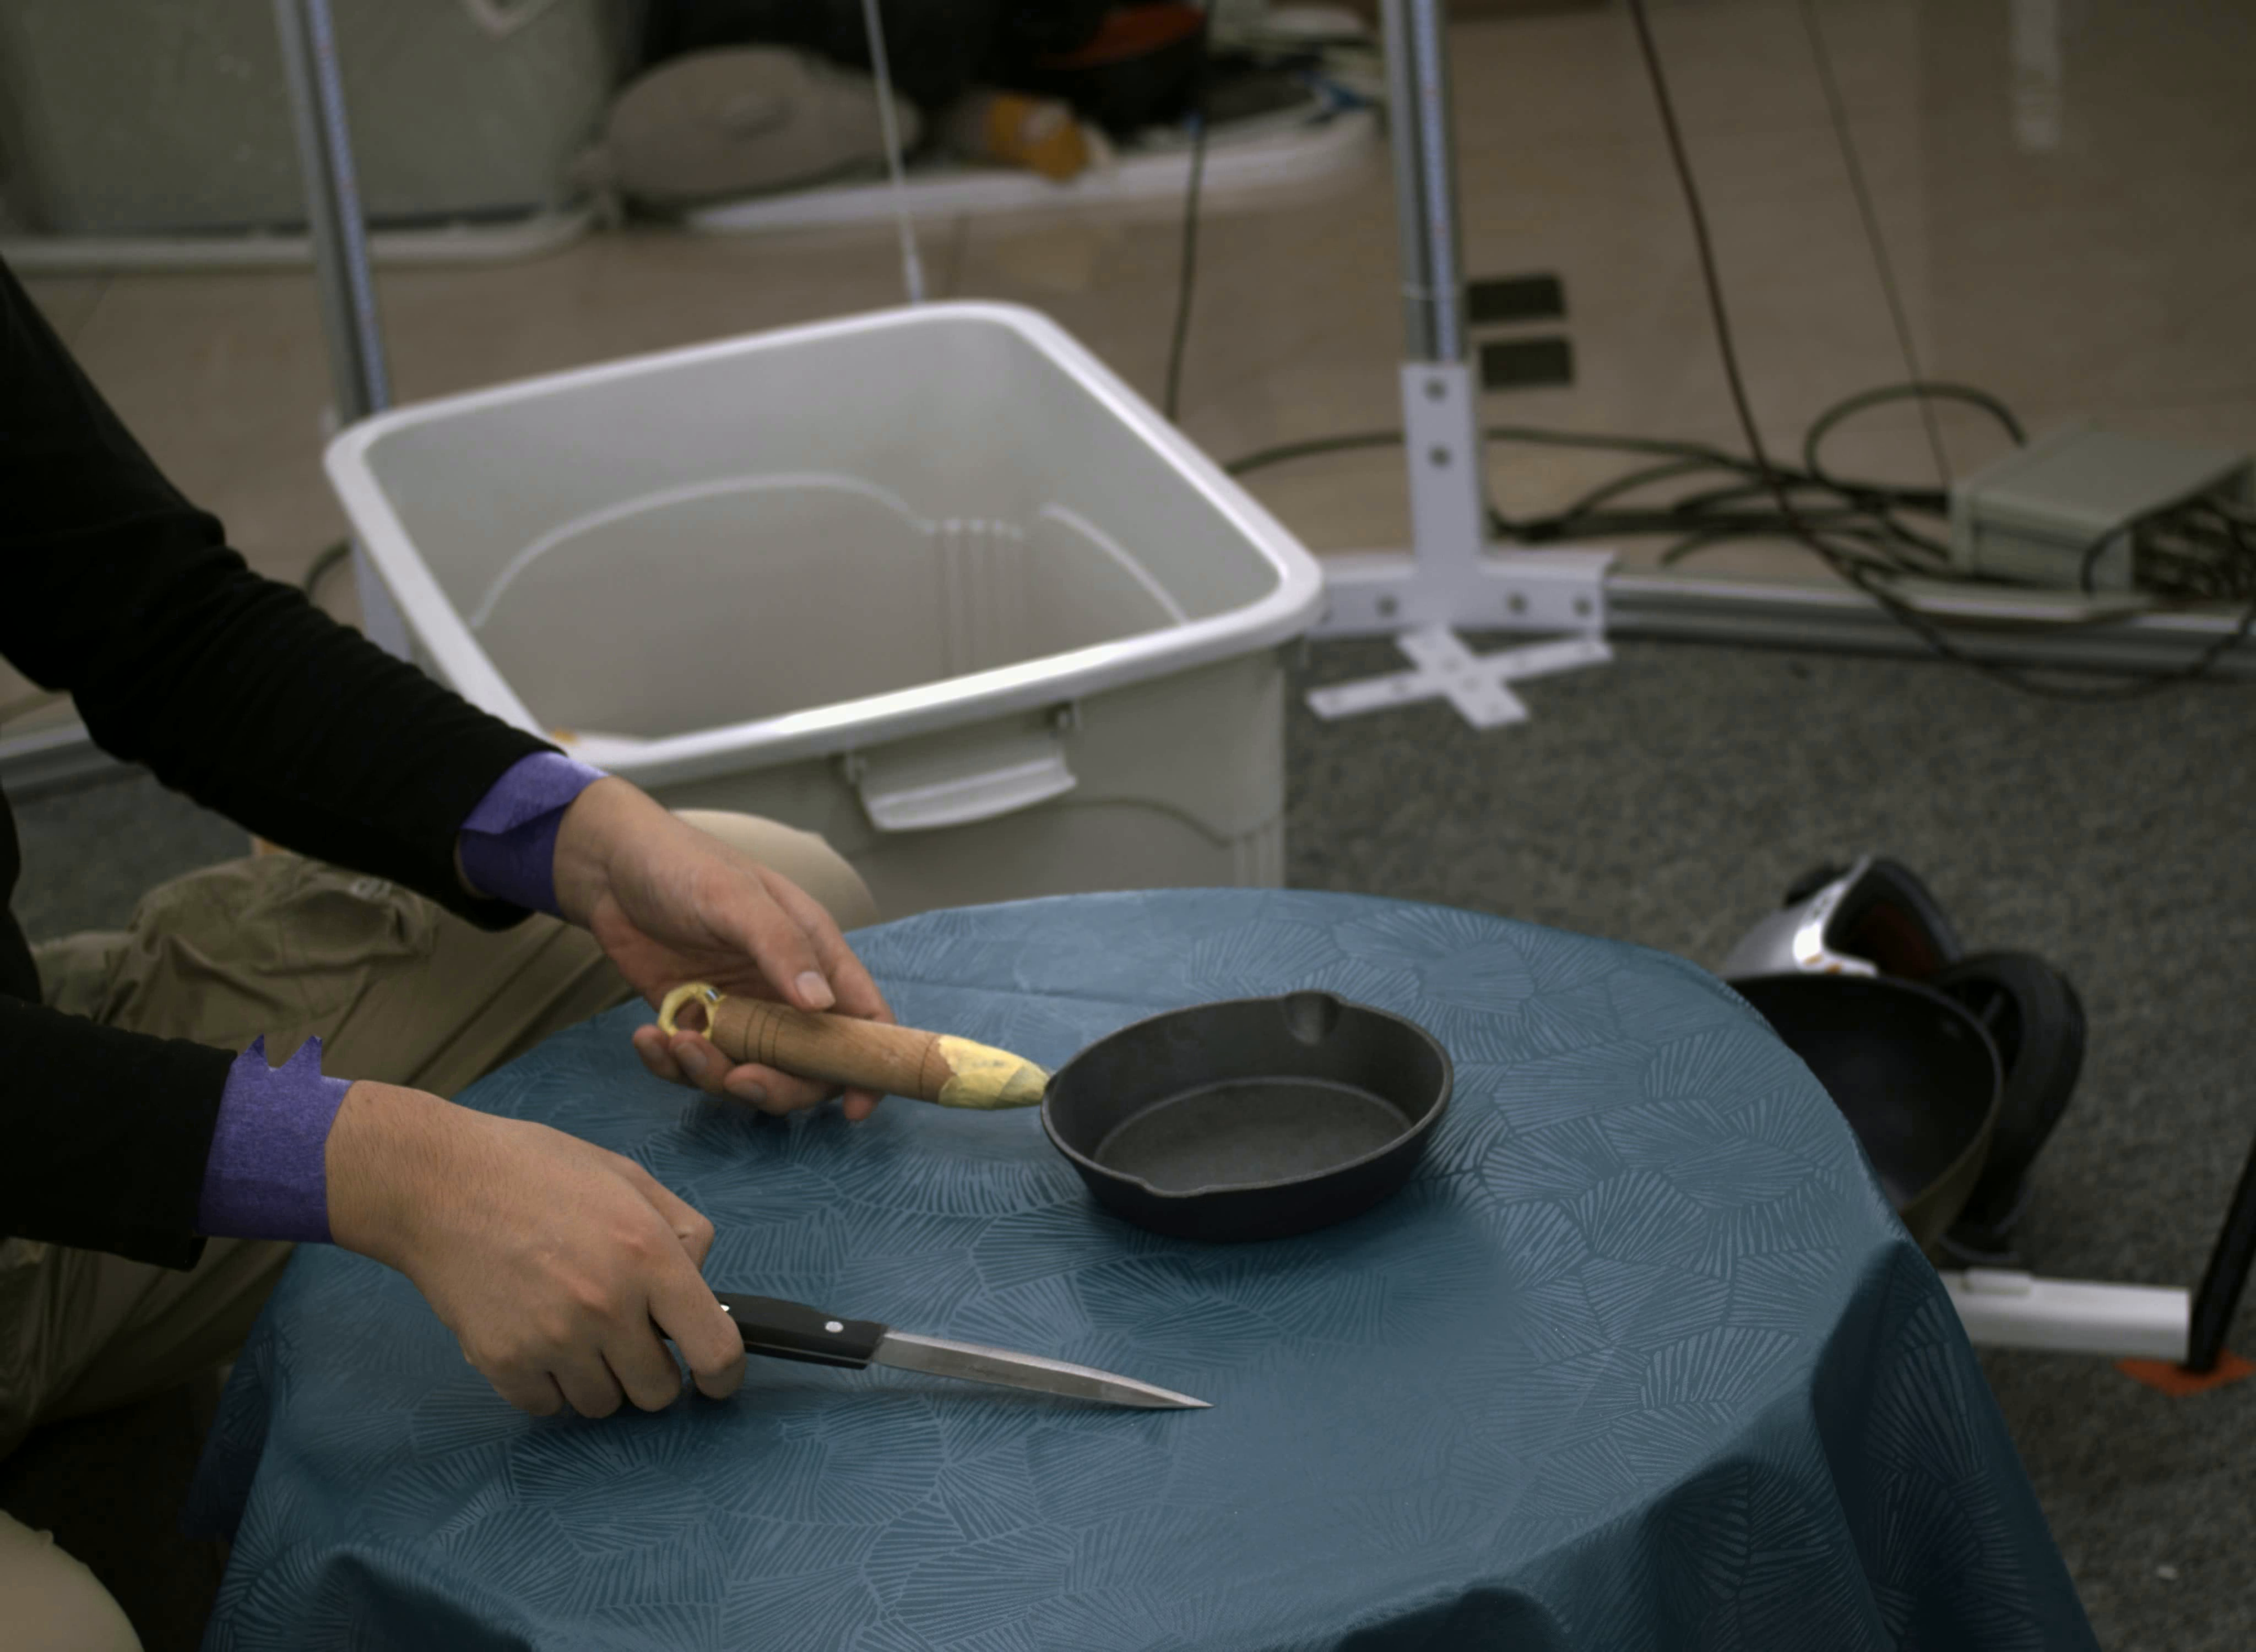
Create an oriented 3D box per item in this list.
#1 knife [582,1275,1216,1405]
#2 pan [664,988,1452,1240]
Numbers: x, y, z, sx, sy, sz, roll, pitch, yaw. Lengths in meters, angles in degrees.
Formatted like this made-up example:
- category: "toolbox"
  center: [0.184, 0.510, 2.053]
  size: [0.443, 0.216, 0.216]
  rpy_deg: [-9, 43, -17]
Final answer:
- category: "knife"
  center: [-0.085, 0.187, 2.028]
  size: [0.237, 0.016, 0.024]
  rpy_deg: [9, 28, 12]
- category: "pan"
  center: [-0.031, 0.102, 2.183]
  size: [0.323, 0.050, 0.167]
  rpy_deg: [4, 27, 24]
